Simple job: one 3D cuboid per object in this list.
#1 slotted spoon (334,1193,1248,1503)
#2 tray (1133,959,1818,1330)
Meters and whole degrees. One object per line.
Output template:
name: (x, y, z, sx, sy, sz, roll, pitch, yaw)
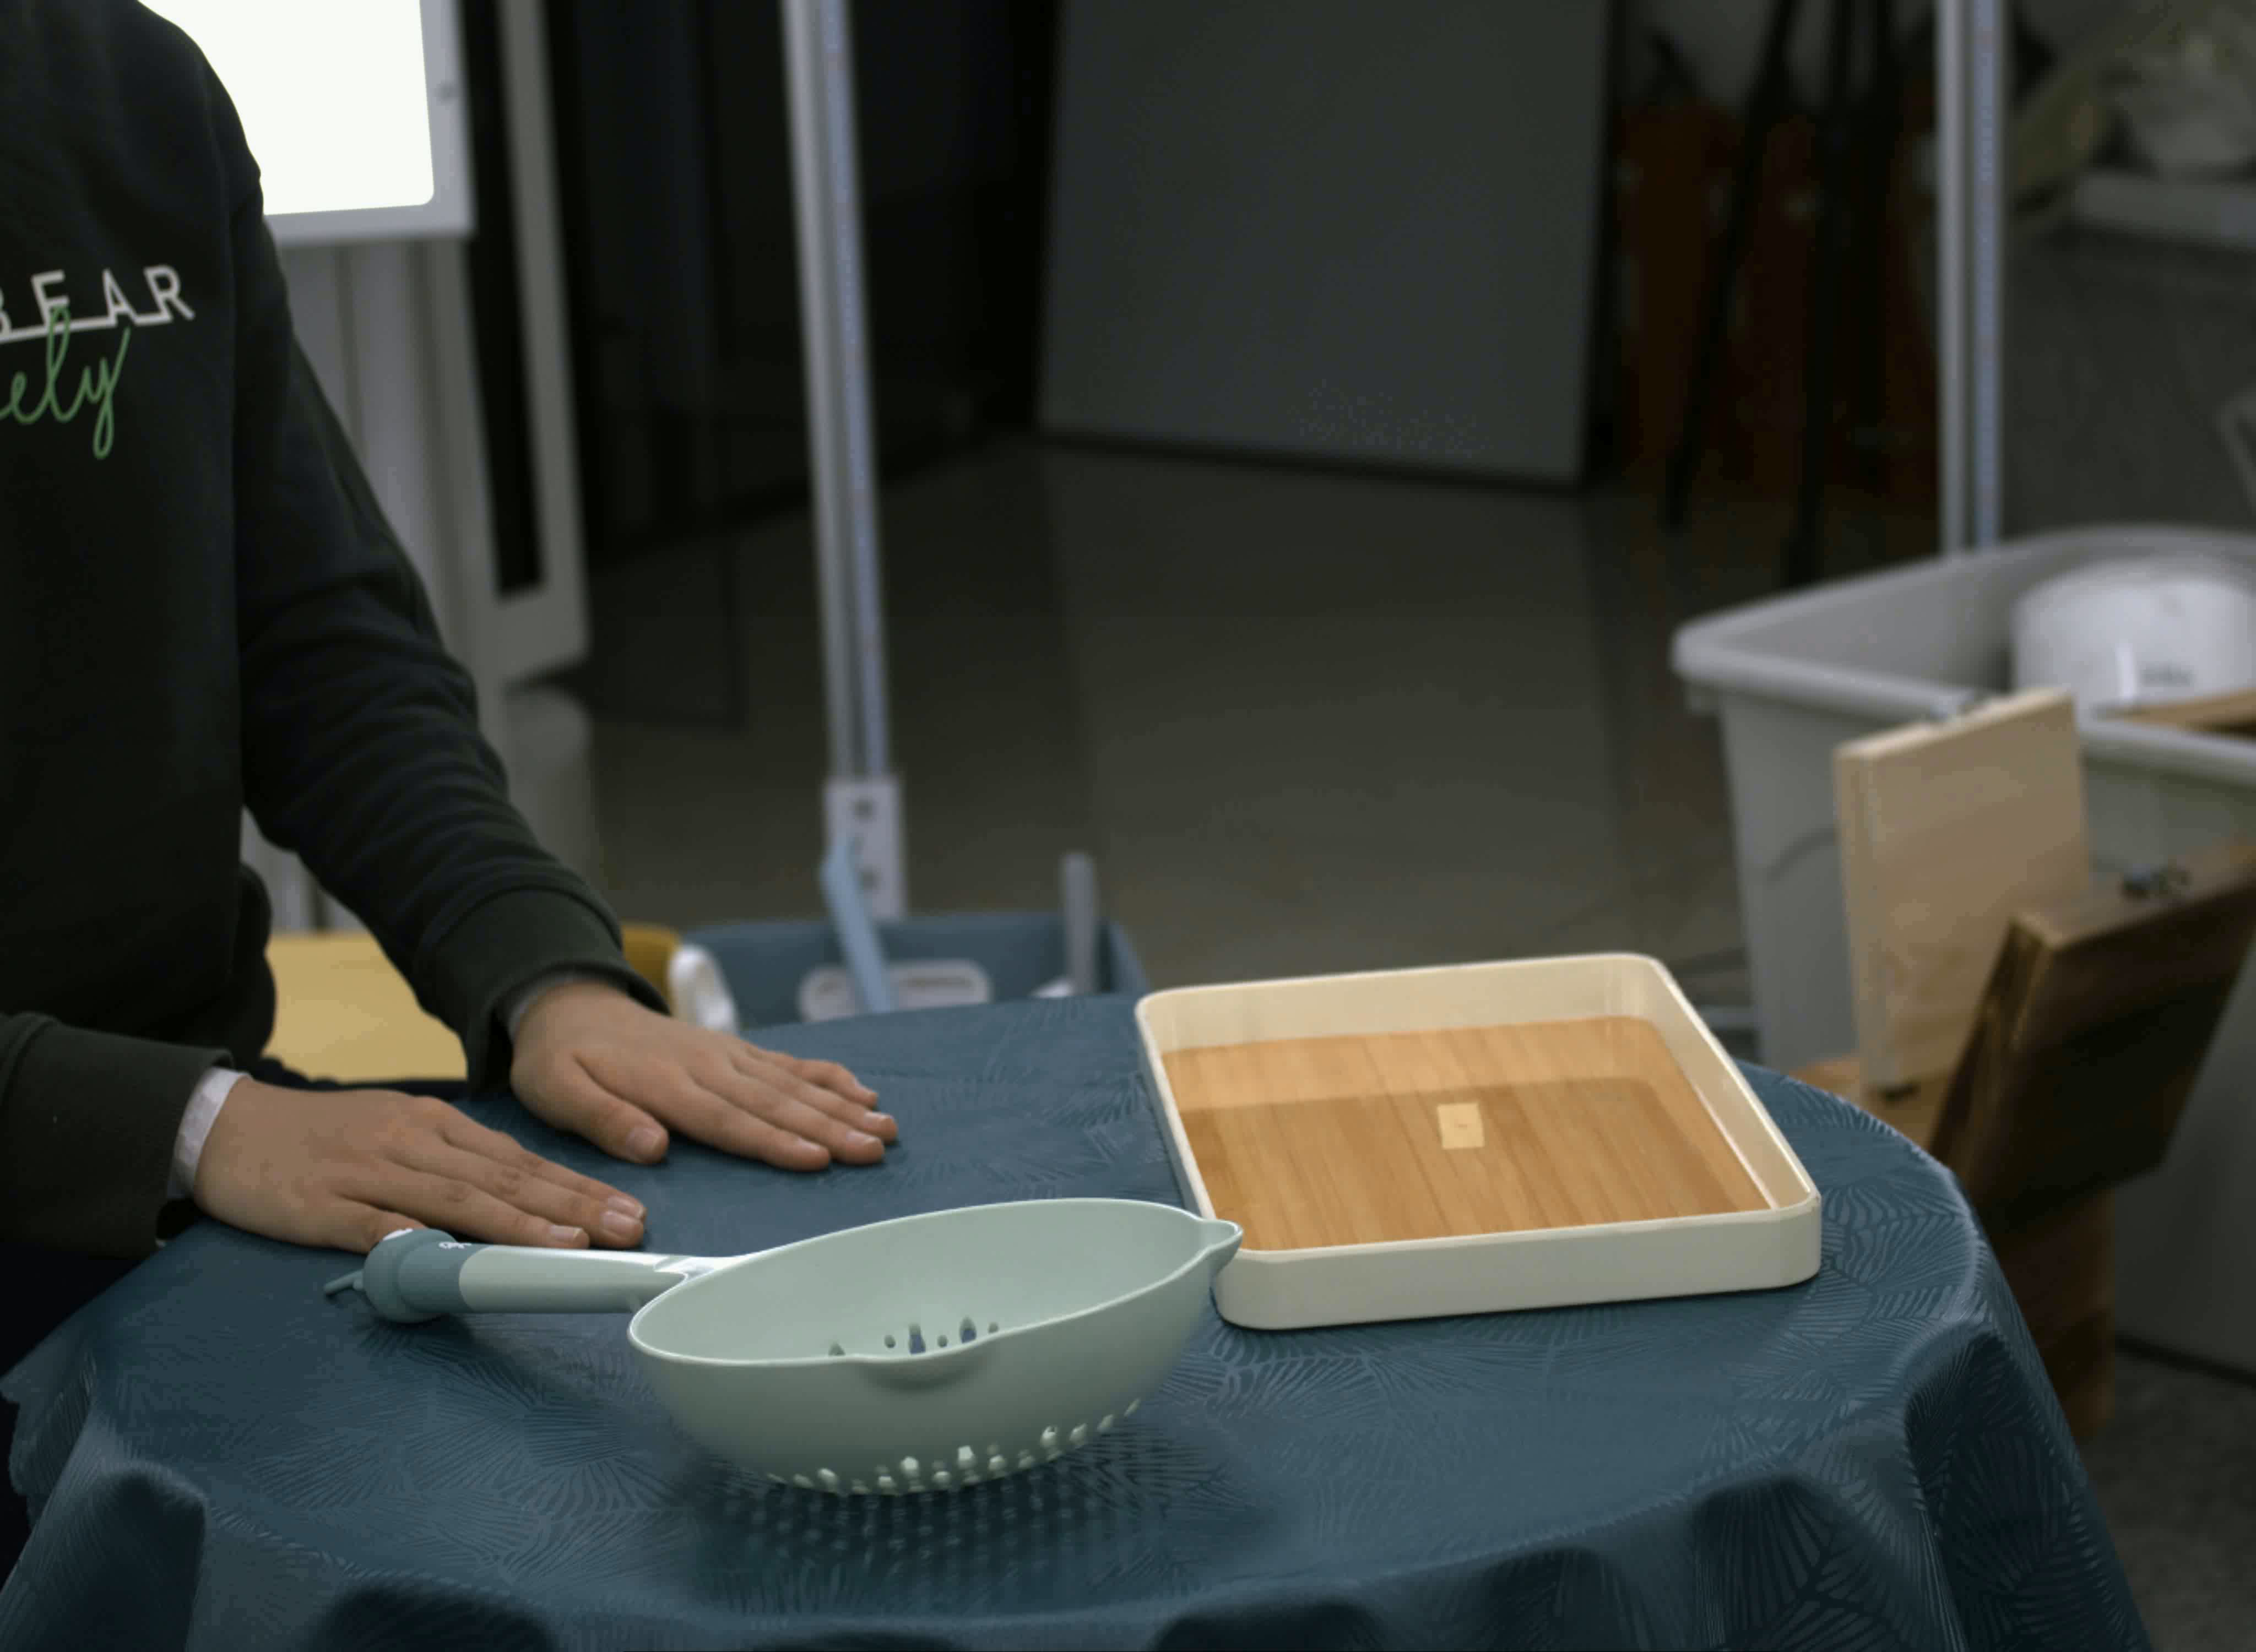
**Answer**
slotted spoon: (-0.124, 0.141, 1.591, 0.362, 0.076, 0.166, 10, 19, 44)
tray: (0.107, 0.100, 1.769, 0.189, 0.028, 0.301, -5, 13, -3)
